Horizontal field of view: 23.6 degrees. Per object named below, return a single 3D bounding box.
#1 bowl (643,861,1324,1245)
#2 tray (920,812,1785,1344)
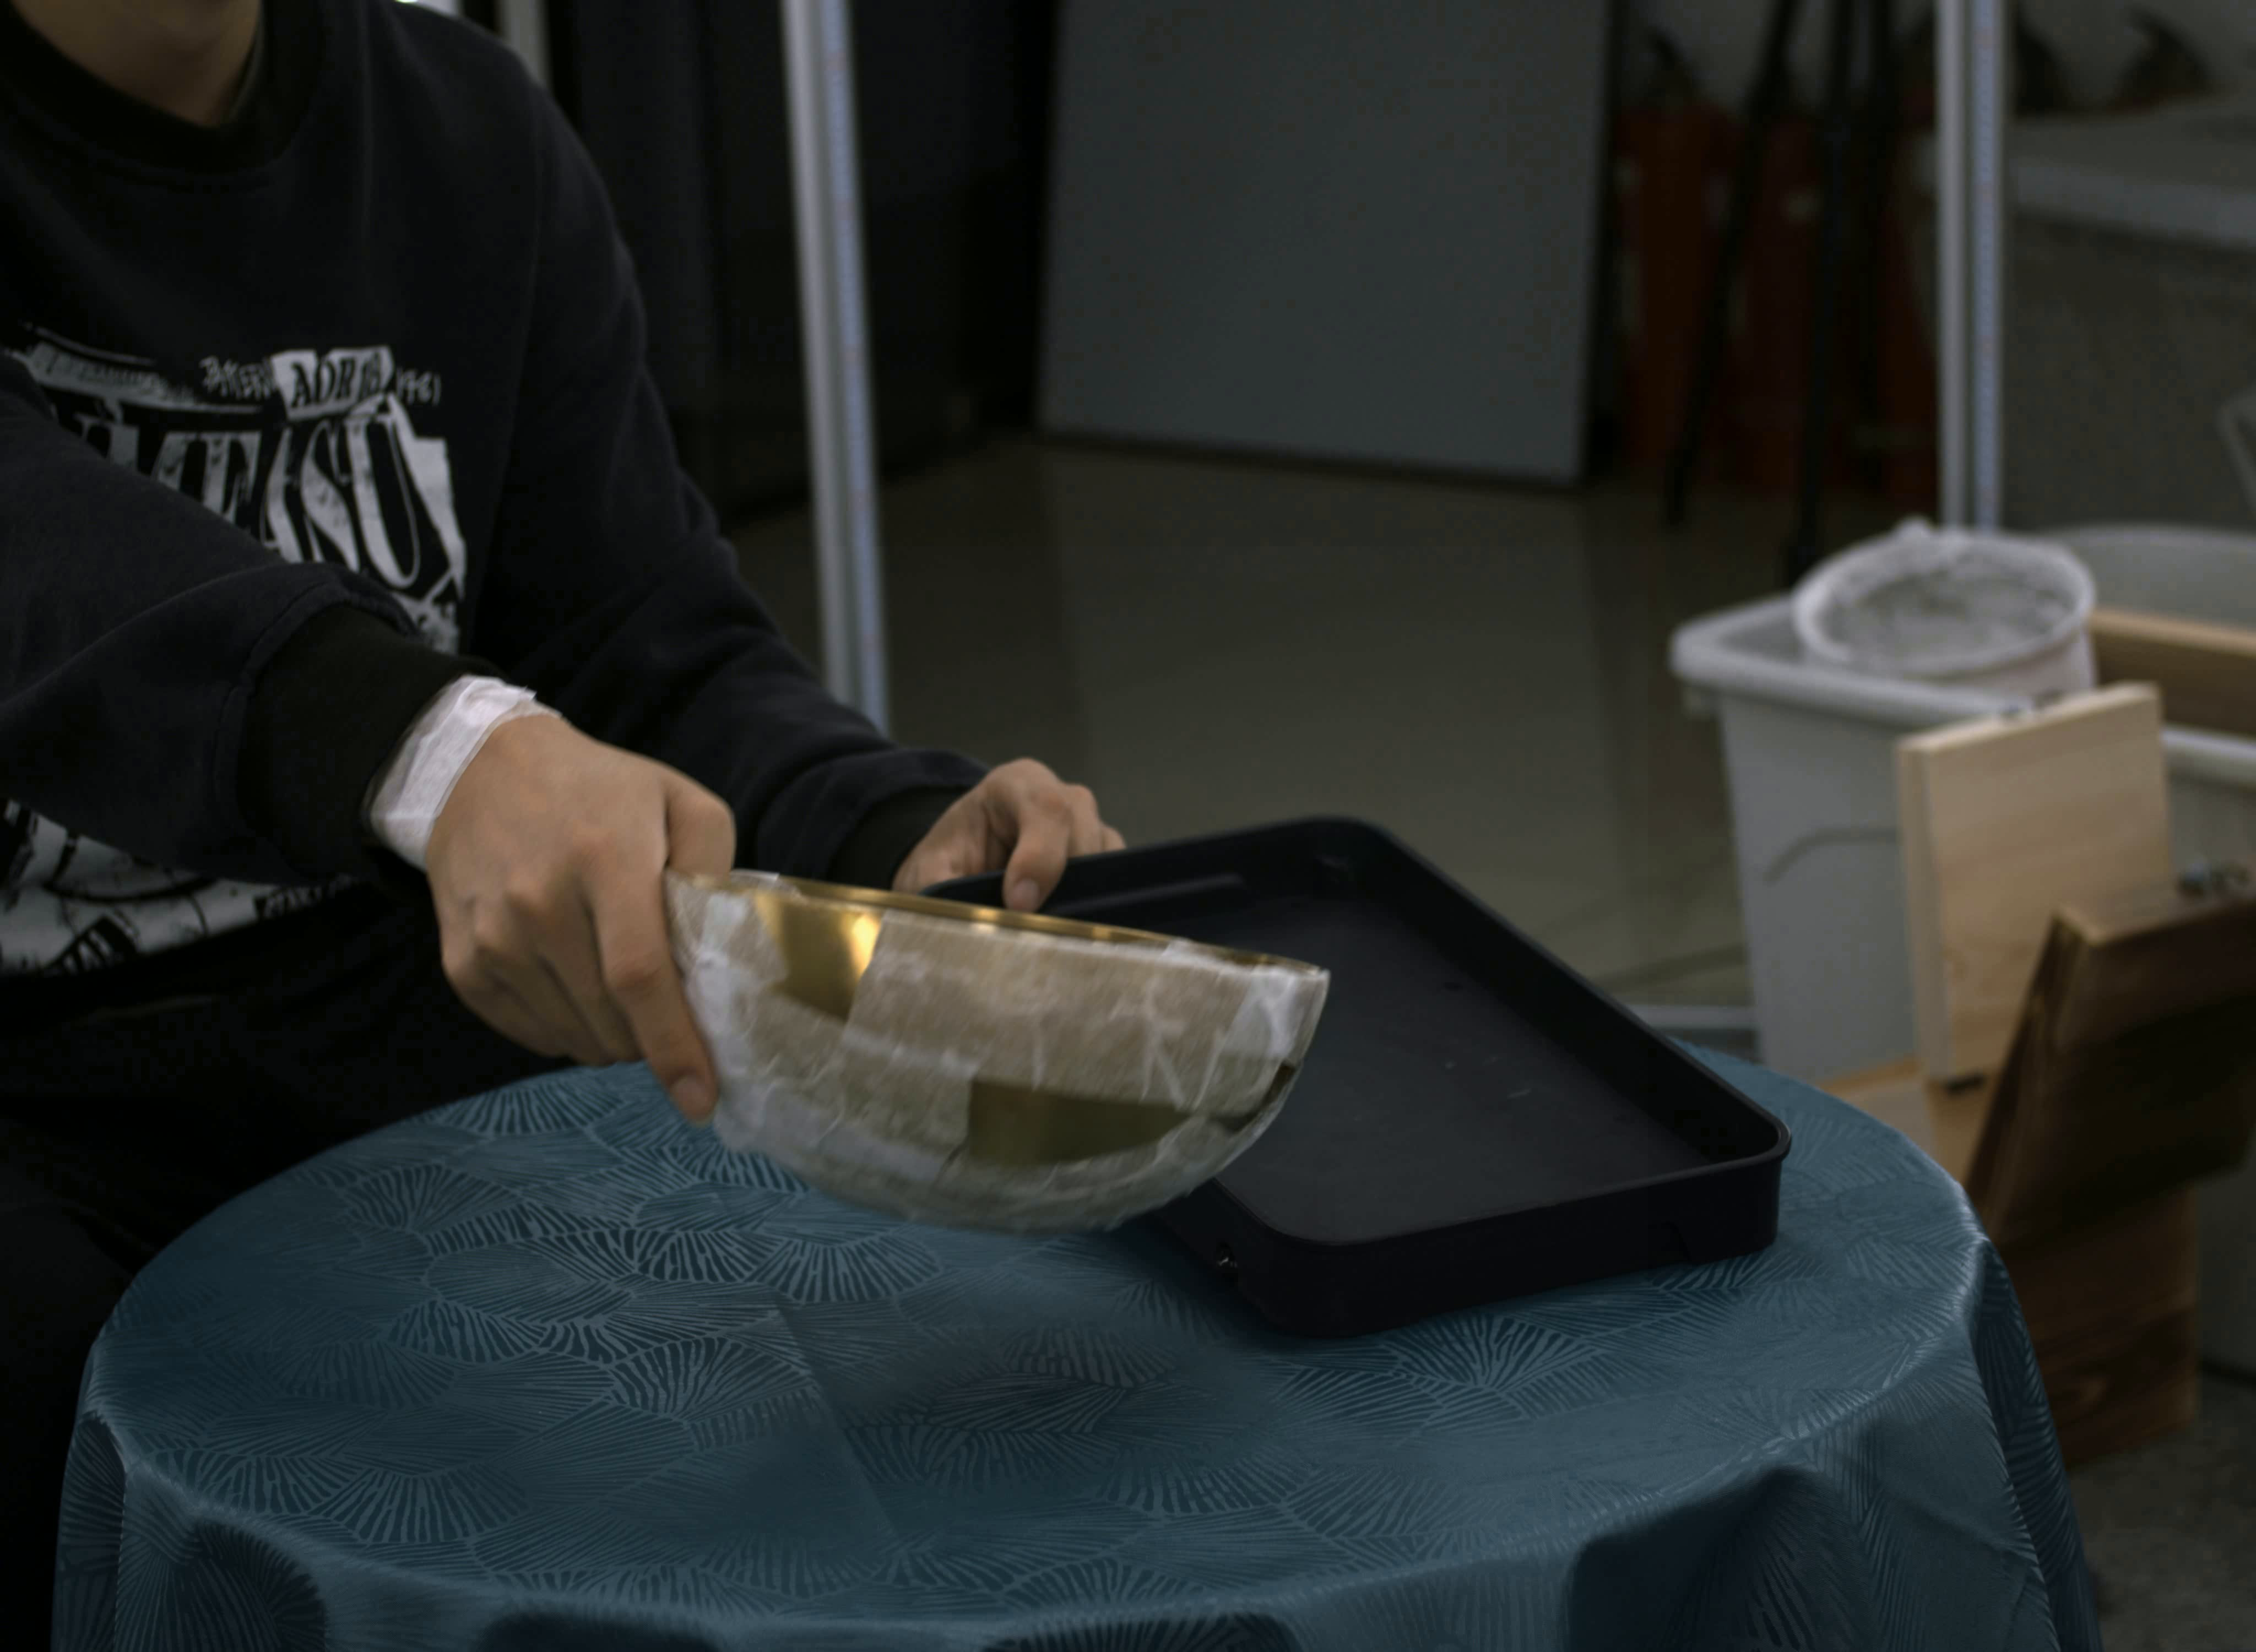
[{"bbox_3d":[-0.048,0.071,1.575,0.212,0.096,0.215,8,1,-1],"label":"bowl"},{"bbox_3d":[0.066,0.076,1.770,0.180,0.037,0.321,-9,24,-21],"label":"tray"}]
